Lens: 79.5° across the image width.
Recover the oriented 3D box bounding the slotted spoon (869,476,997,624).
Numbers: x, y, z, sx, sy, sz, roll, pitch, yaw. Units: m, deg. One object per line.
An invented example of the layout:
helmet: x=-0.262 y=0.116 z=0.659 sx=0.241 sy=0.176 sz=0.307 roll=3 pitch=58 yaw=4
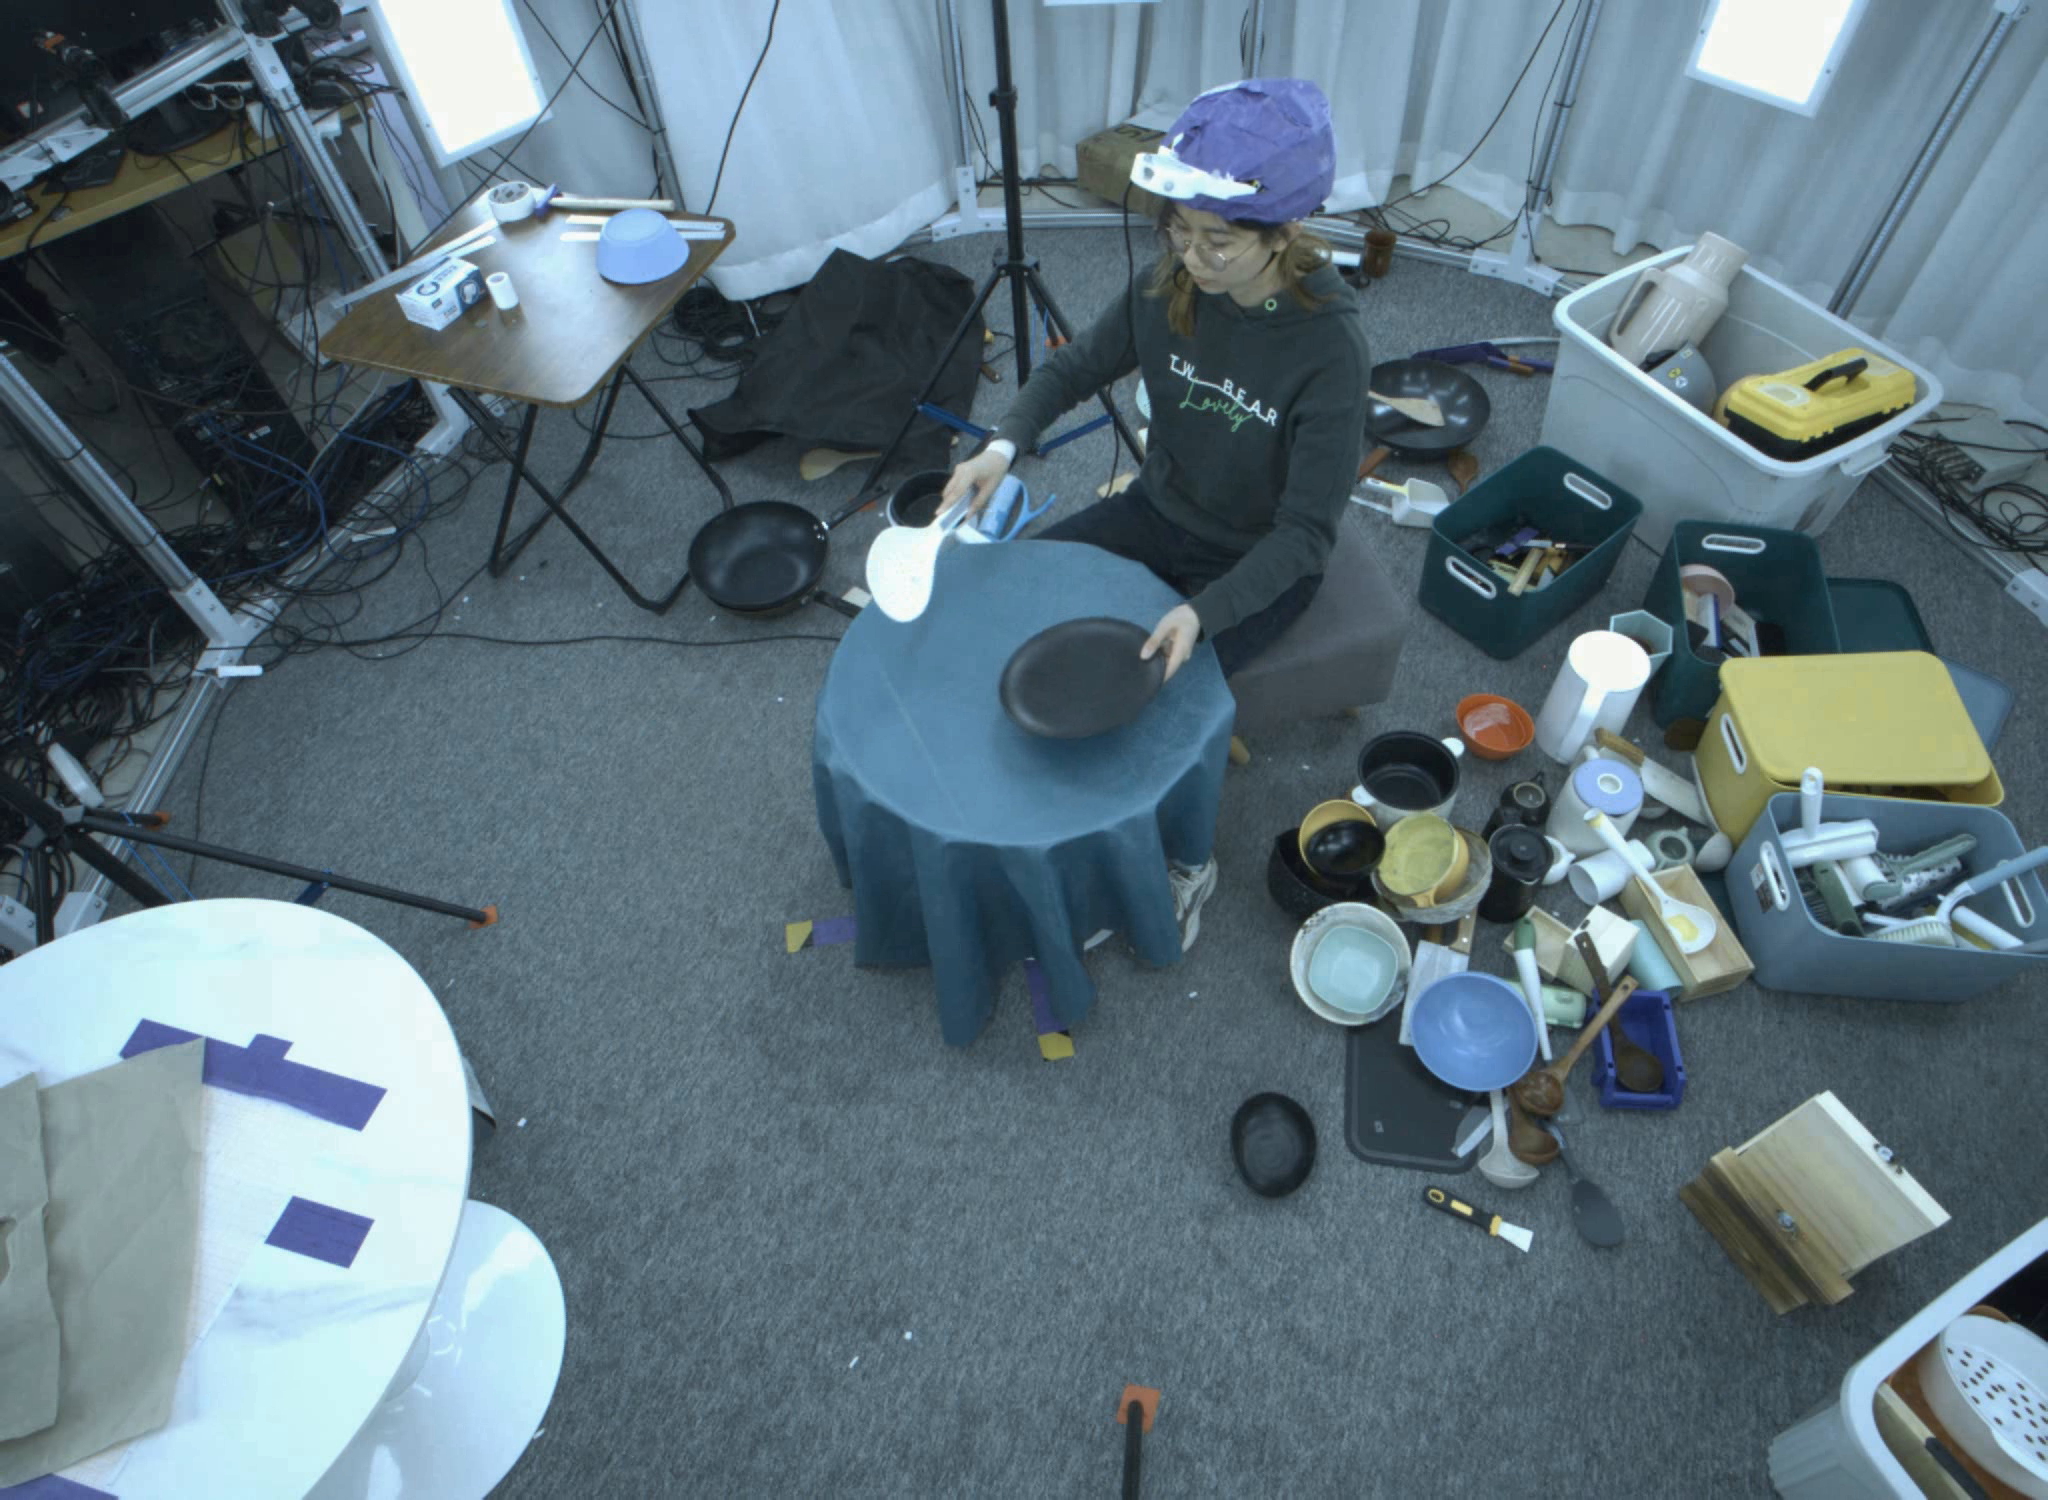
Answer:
slotted spoon: x=-0.131 y=-0.319 z=1.836 sx=0.045 sy=0.138 sz=0.351 roll=2 pitch=41 yaw=40

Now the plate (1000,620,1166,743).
plate: x=0.085 y=-0.096 z=1.774 sx=0.243 sy=0.024 sz=0.242 roll=-7 pitch=49 yaw=9
